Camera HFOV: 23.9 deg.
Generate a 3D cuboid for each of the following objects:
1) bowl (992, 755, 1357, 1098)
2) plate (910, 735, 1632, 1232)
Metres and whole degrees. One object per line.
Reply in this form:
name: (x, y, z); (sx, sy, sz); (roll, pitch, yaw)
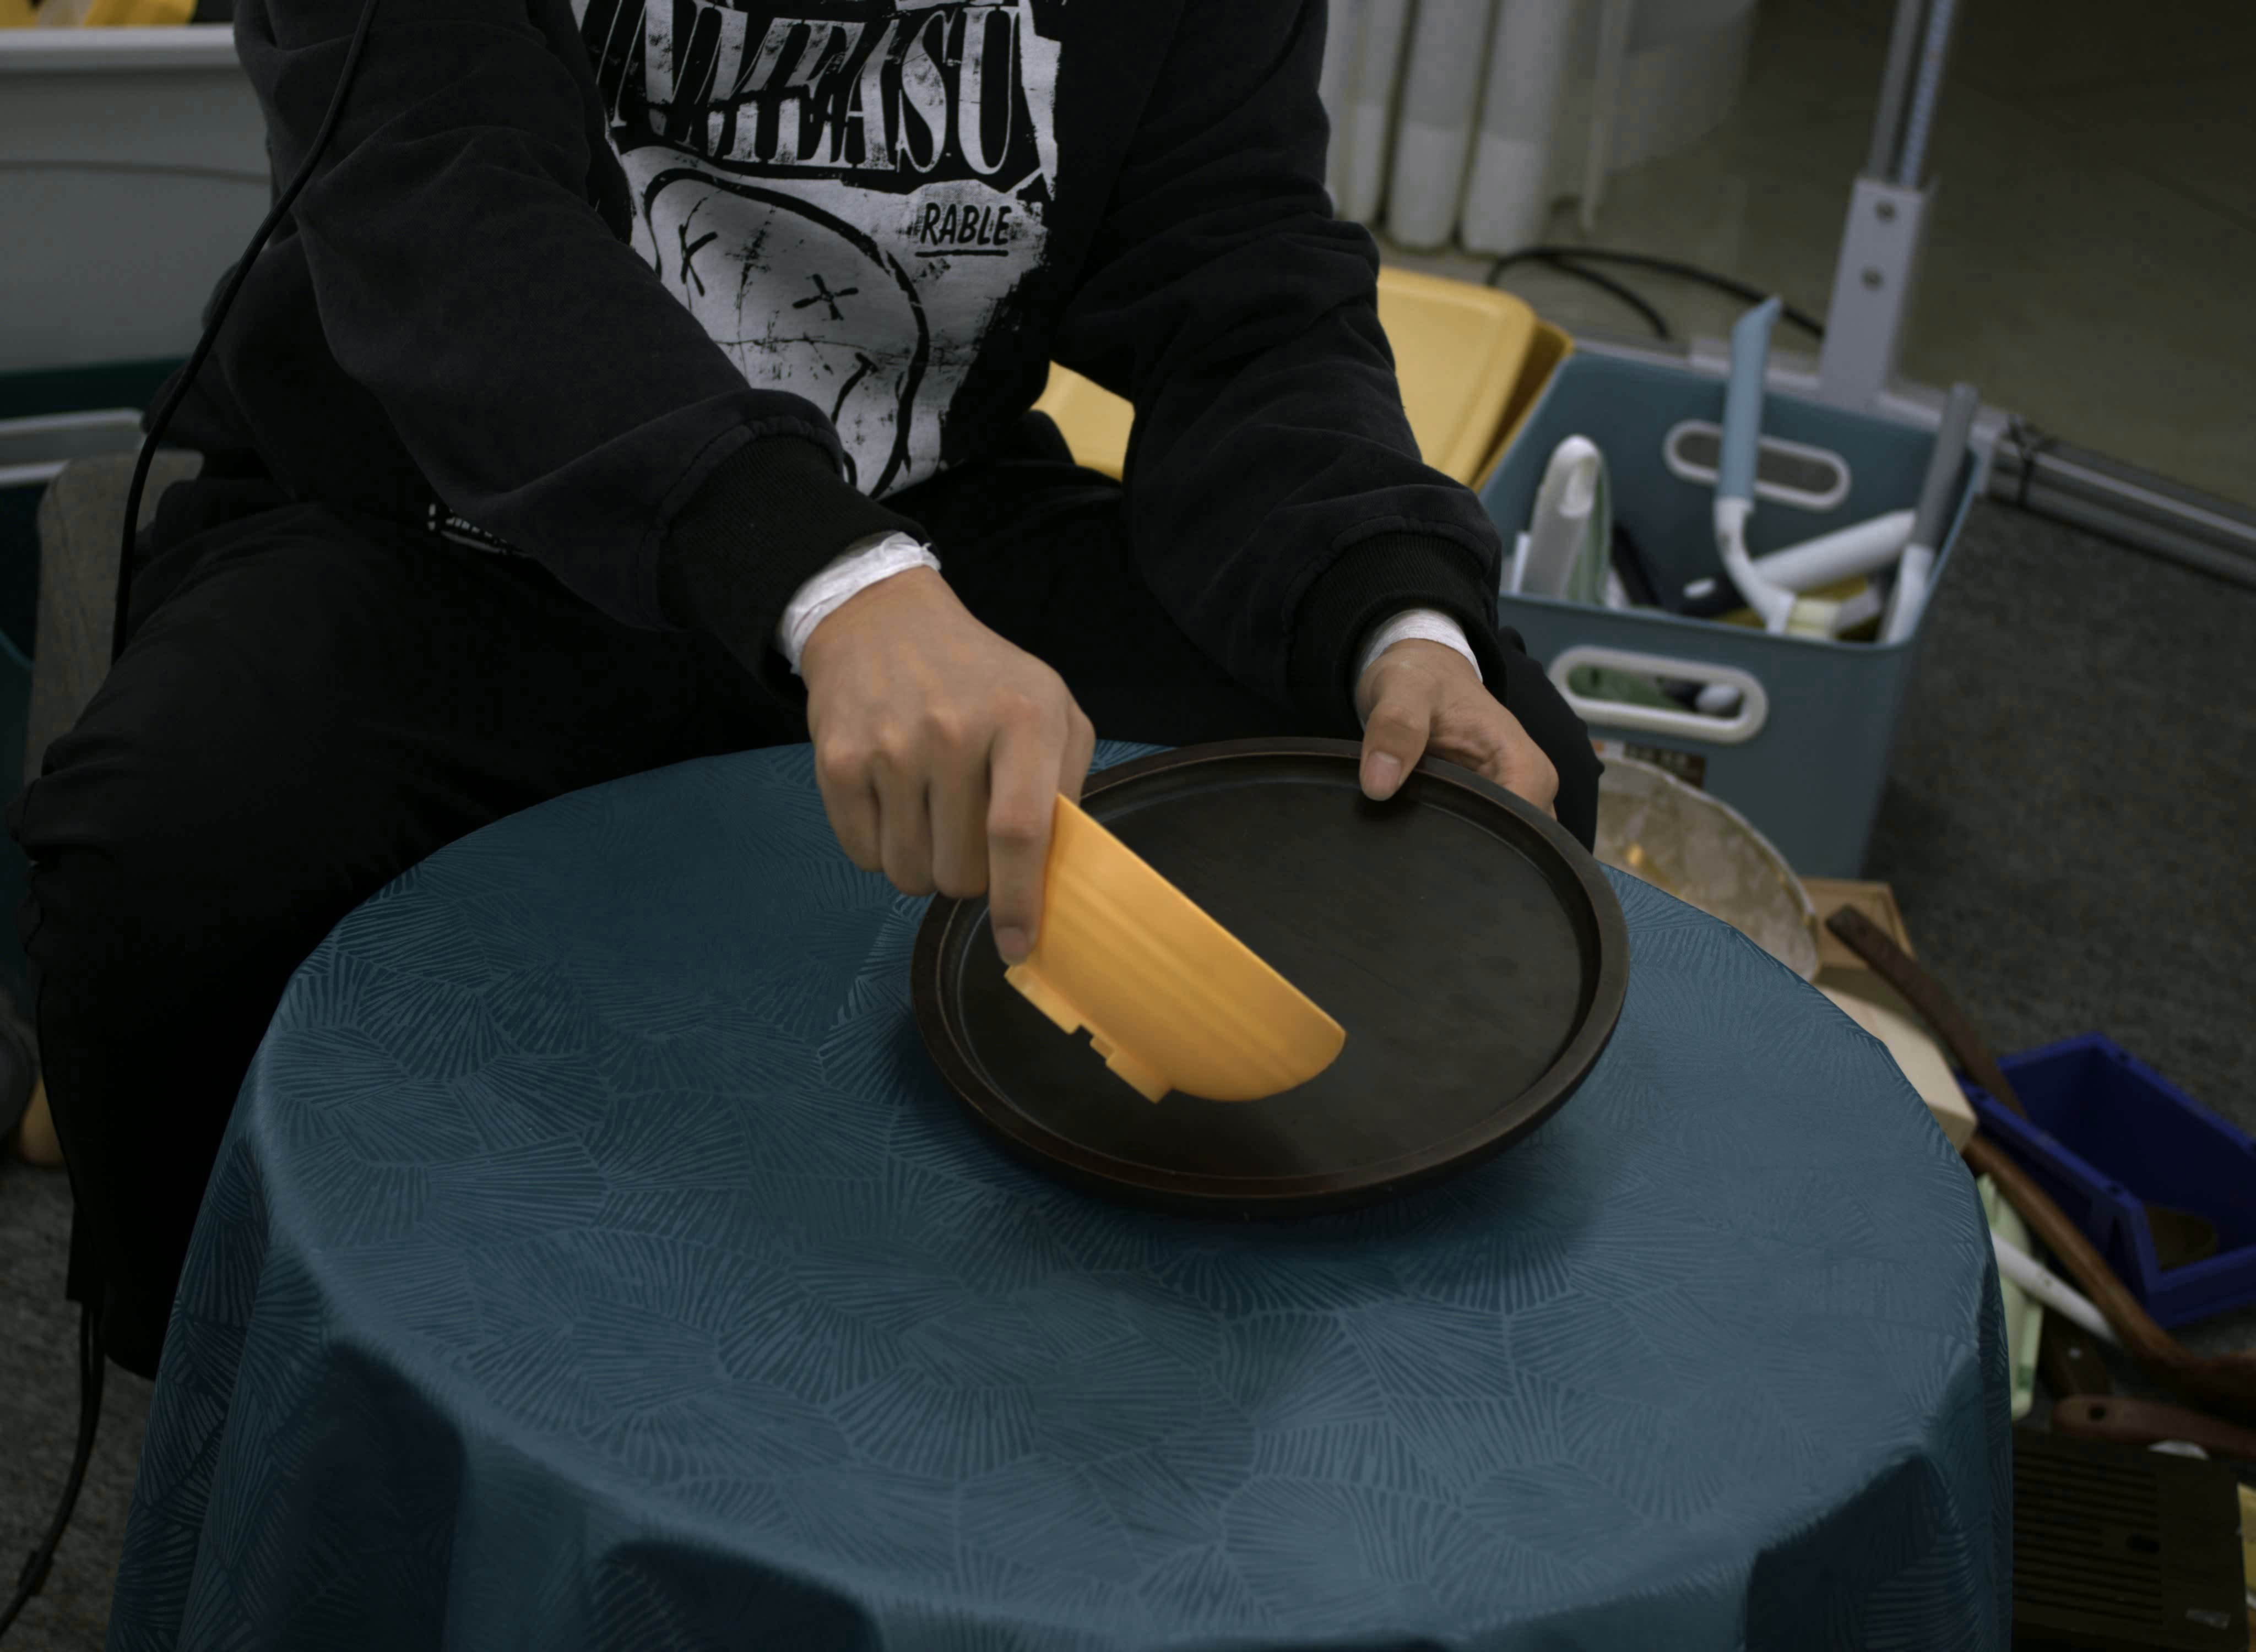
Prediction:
bowl: (0.003, 0.046, 1.742); (0.145, 0.060, 0.145); (41, -1, 0)
plate: (0.050, 0.053, 1.865); (0.254, 0.029, 0.257); (-5, 38, 3)
